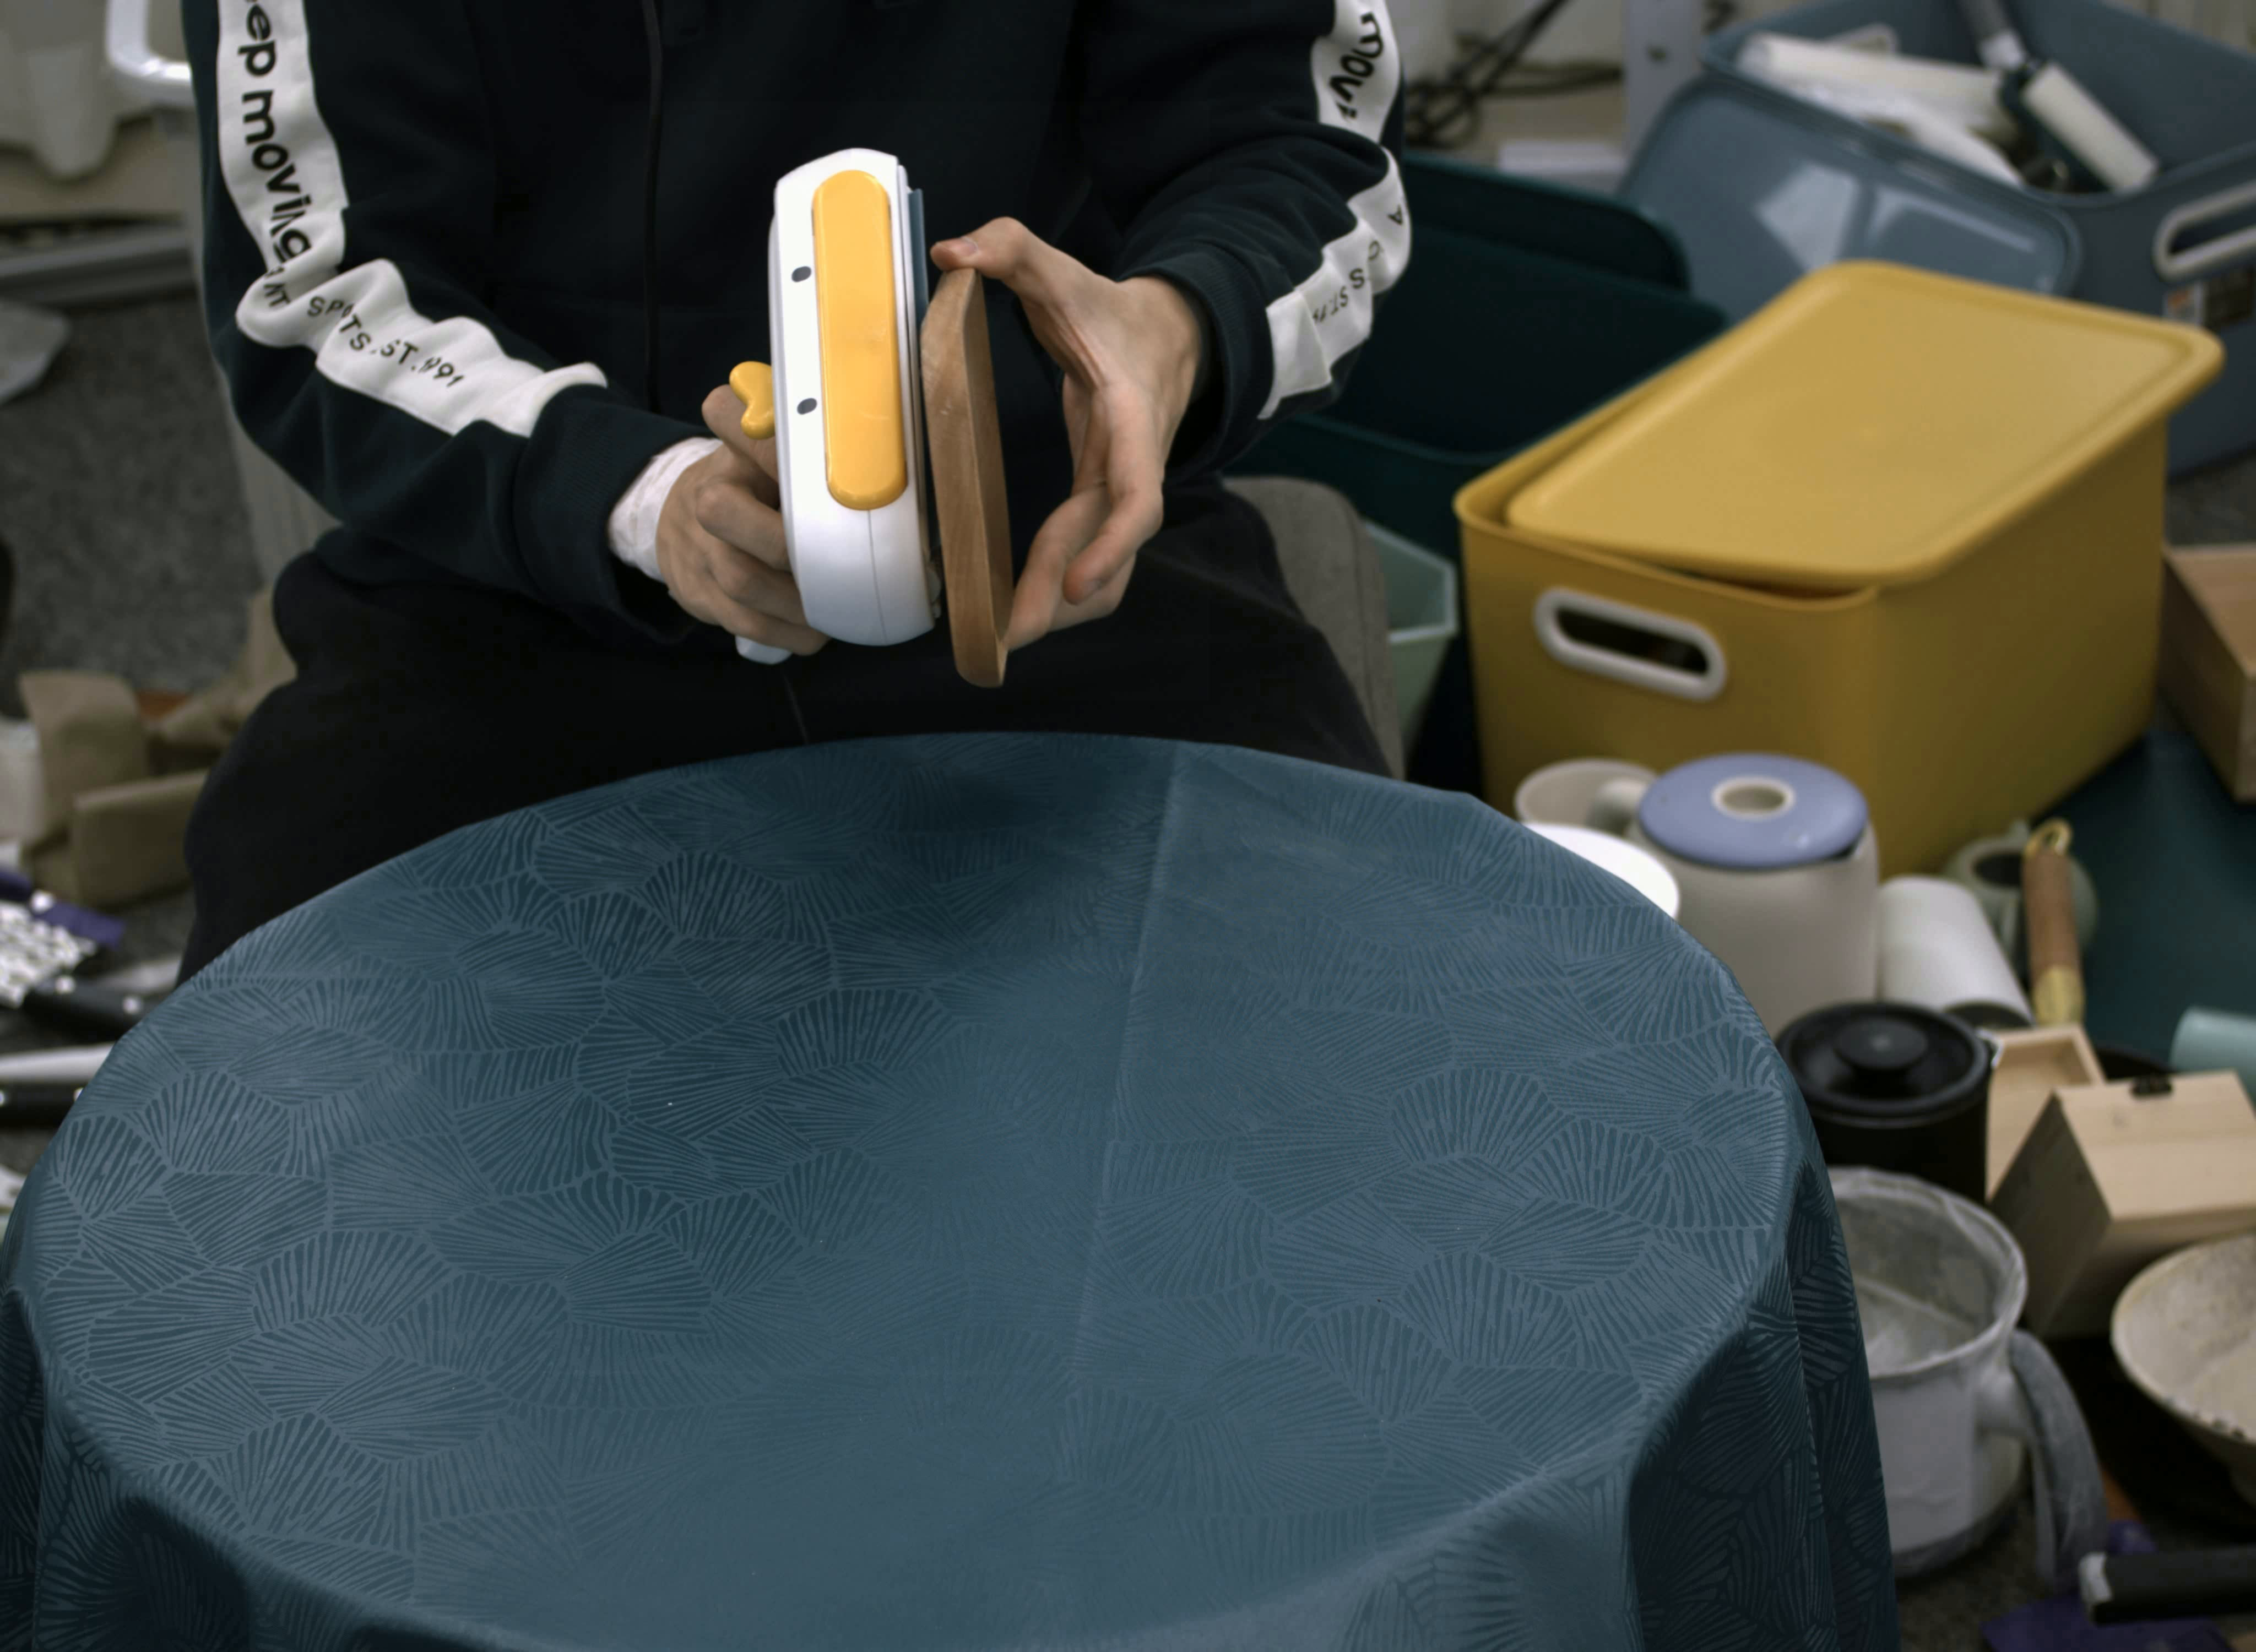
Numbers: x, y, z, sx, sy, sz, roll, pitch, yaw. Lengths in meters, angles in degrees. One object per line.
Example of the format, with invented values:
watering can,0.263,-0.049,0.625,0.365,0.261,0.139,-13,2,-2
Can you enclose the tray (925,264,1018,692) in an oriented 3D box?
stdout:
tray,-0.054,-0.125,1.972,0.023,0.130,0.252,-4,9,0

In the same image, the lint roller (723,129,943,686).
lint roller,-0.106,-0.122,2.012,0.074,0.189,0.196,-6,53,-9
